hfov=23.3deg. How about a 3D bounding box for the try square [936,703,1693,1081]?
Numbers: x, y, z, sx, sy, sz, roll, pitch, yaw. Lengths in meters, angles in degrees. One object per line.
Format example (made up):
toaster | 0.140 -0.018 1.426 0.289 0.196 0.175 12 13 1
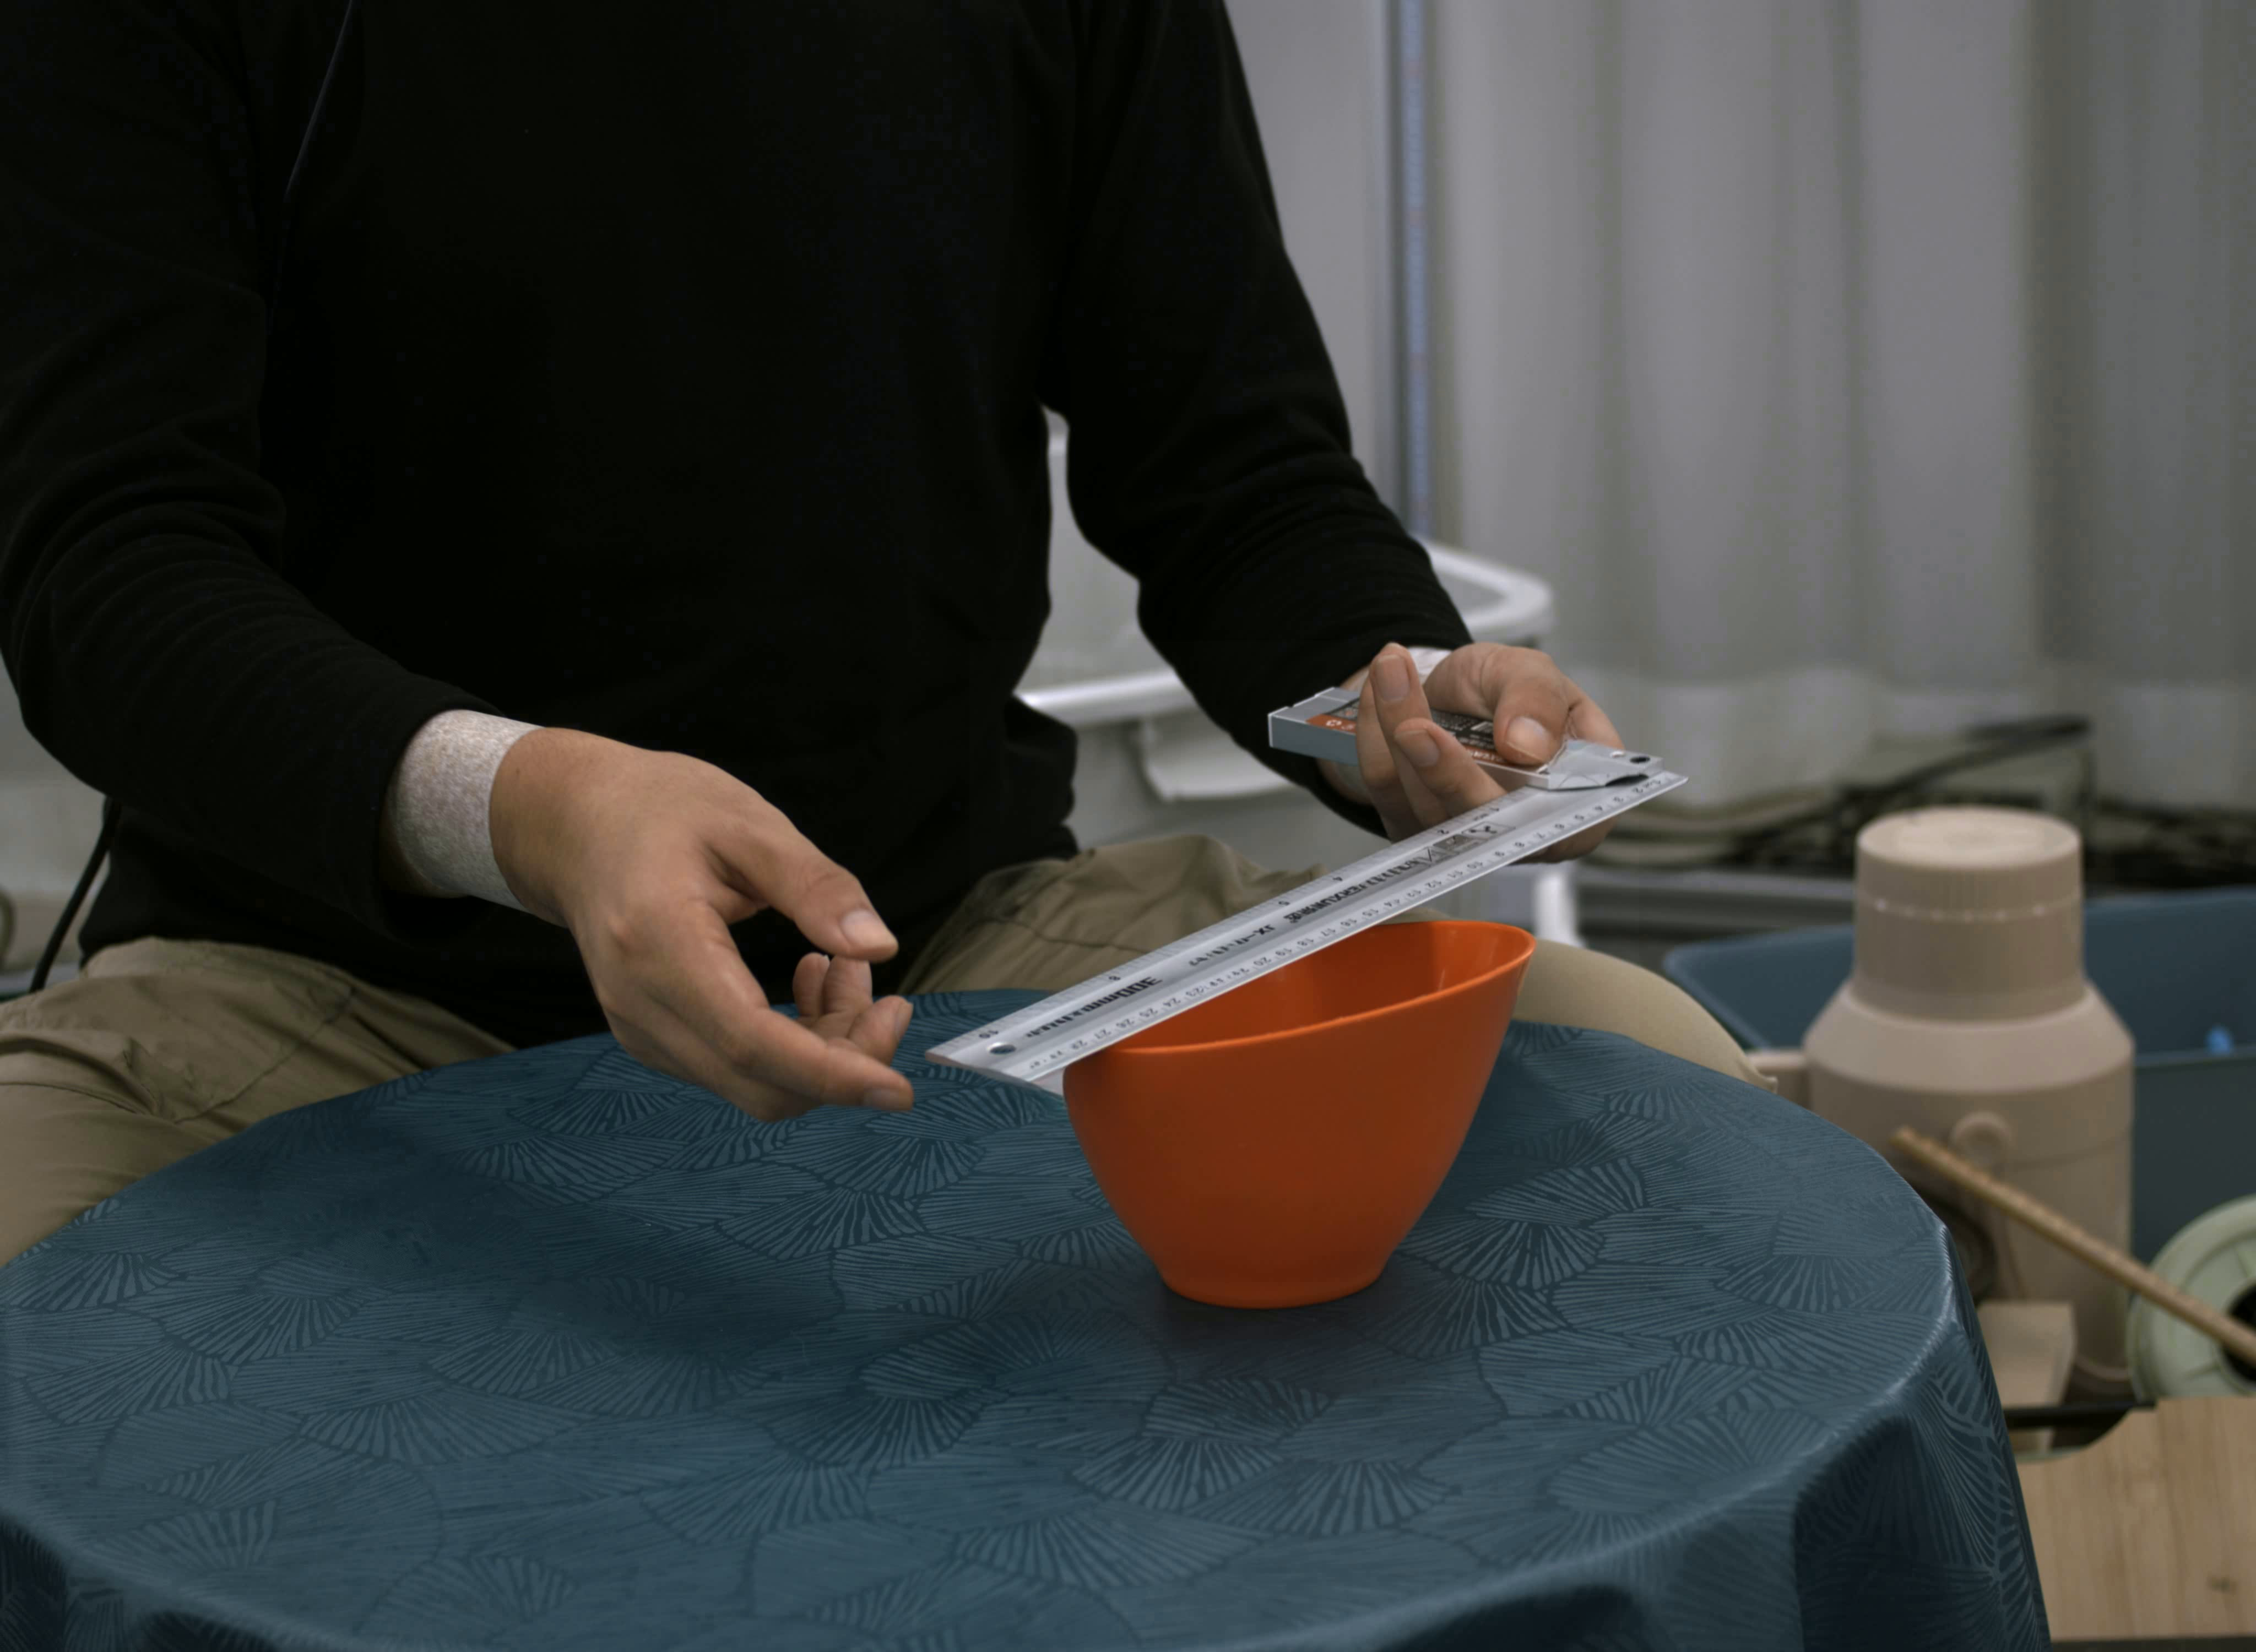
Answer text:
try square | 0.024 0.017 1.694 0.153 0.016 0.313 10 23 42

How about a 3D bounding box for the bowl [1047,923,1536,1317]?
bowl | 0.049 0.087 1.614 0.147 0.104 0.149 -4 15 1
